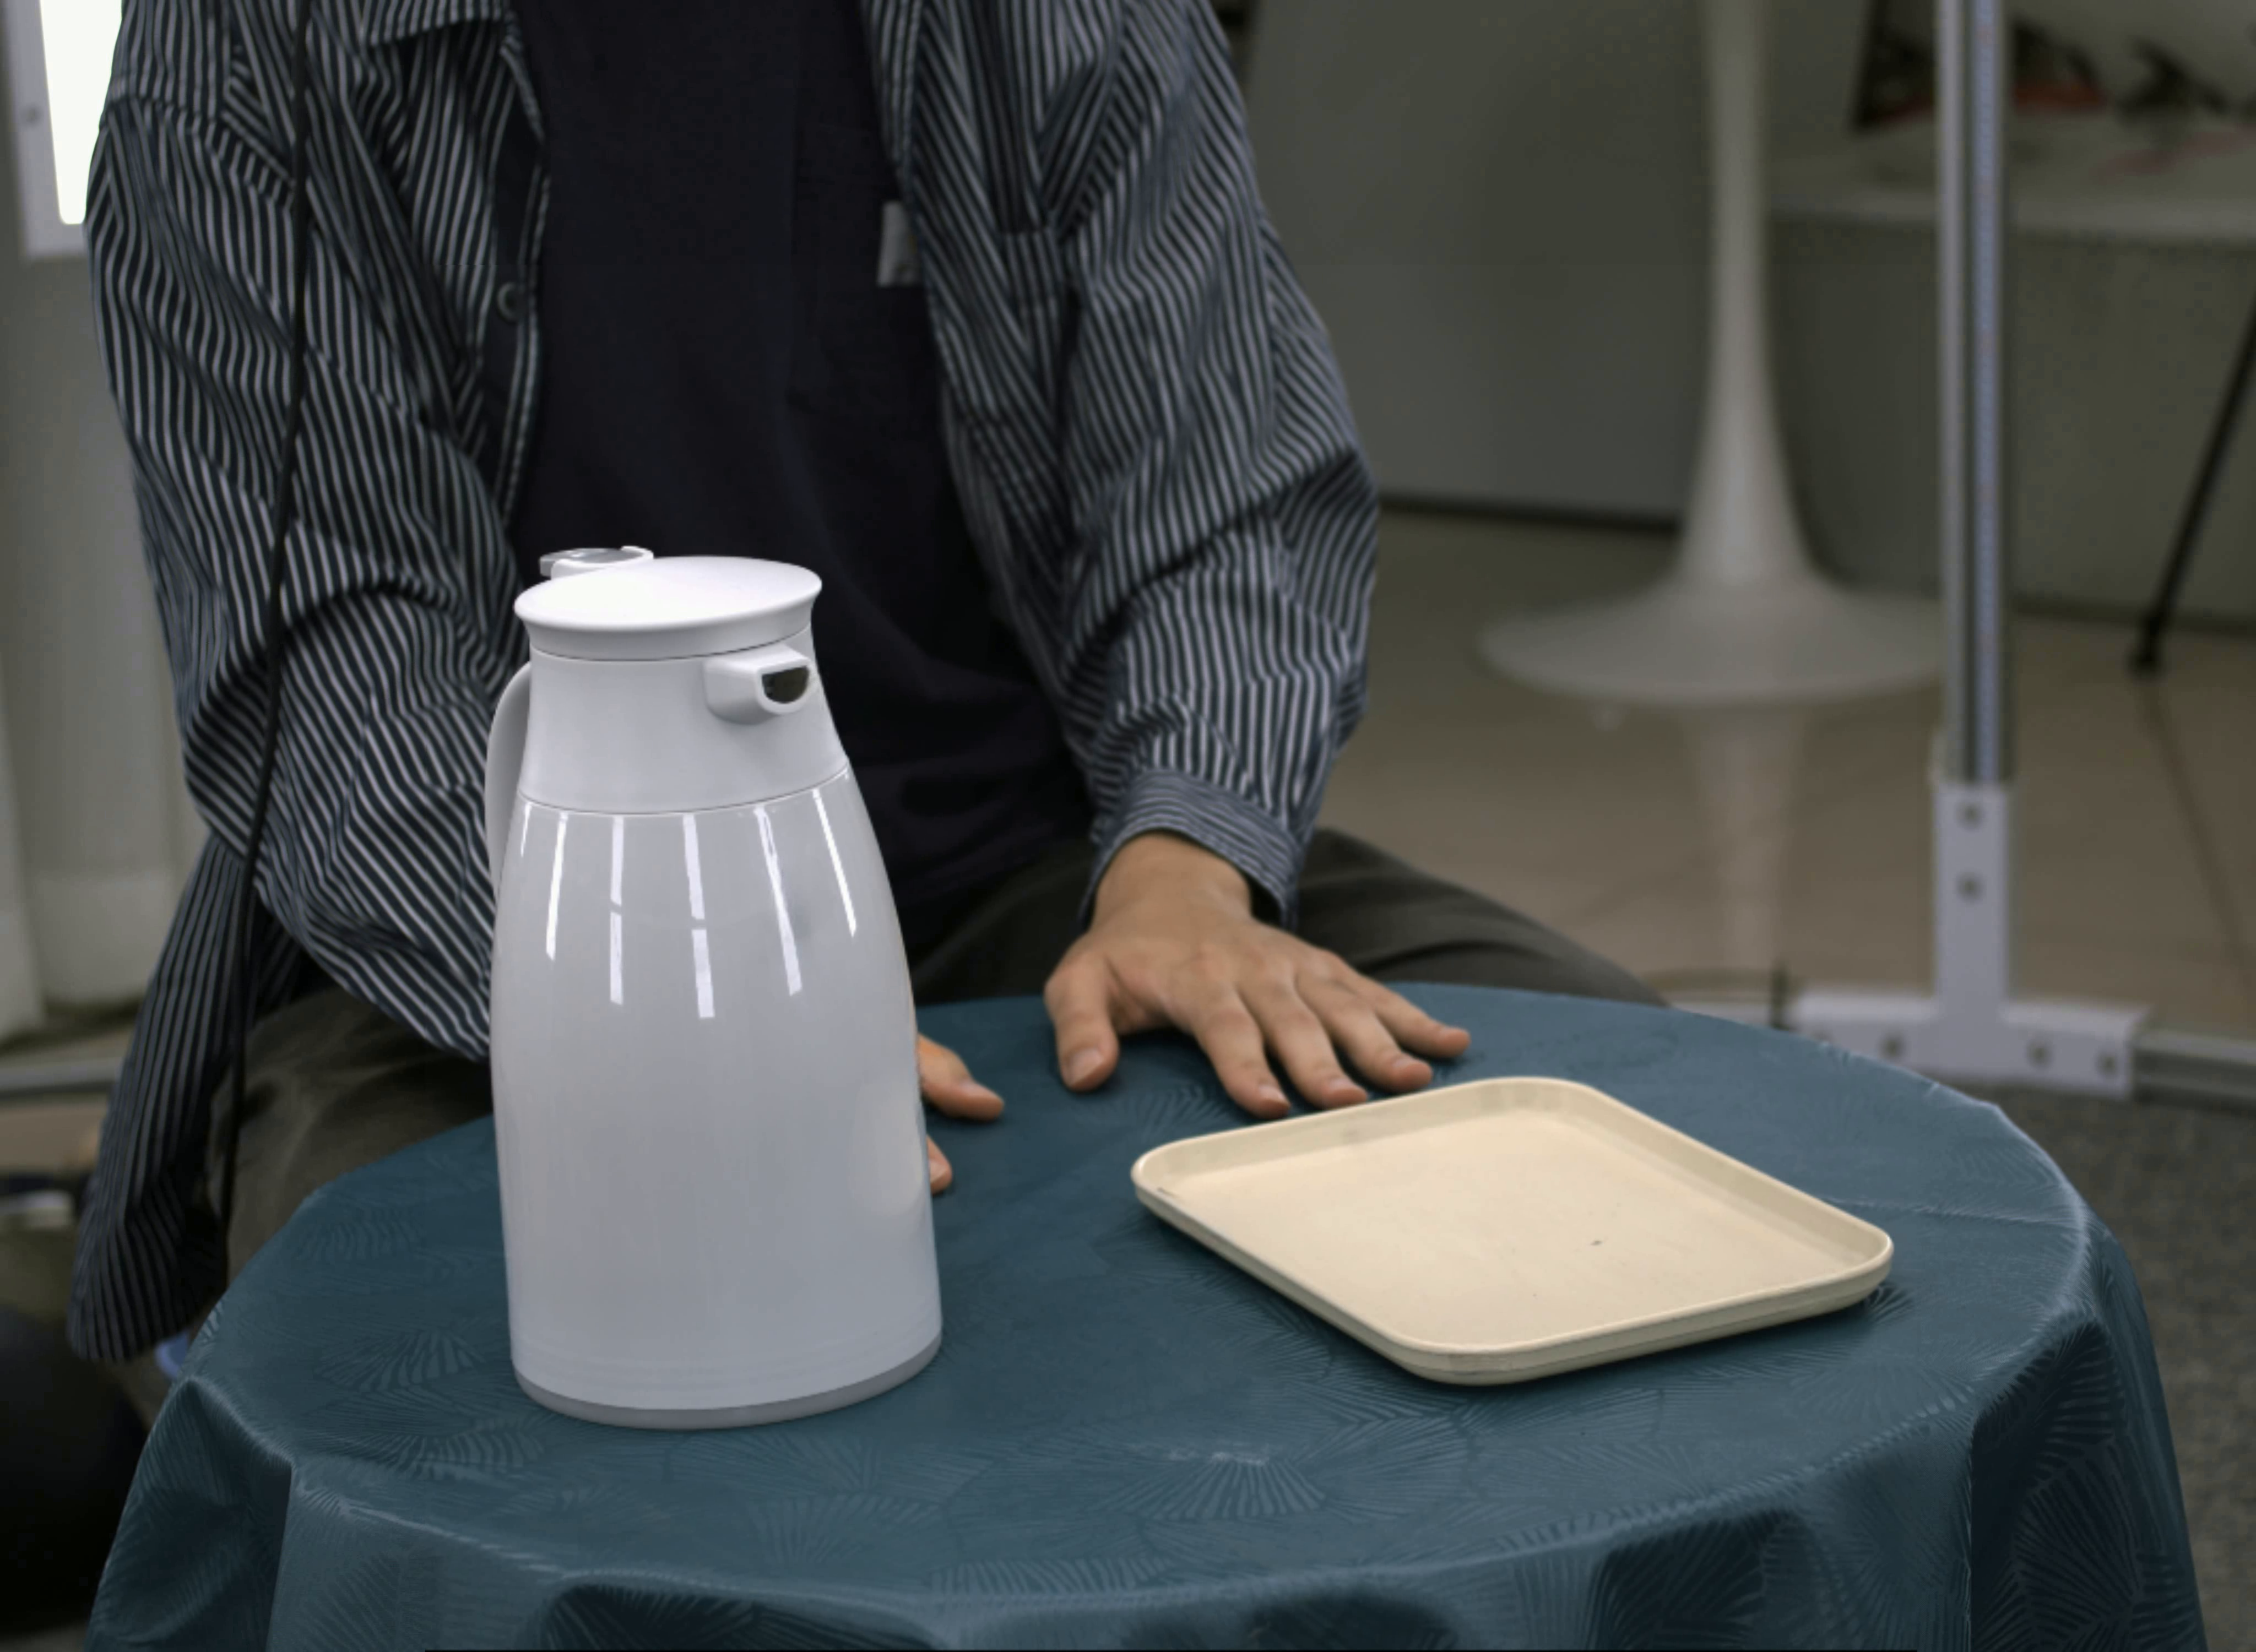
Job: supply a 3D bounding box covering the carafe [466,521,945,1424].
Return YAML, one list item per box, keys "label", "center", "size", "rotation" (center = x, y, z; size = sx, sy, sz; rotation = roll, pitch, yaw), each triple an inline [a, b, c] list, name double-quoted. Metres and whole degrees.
- label: "carafe"
  center: [-0.142, 0.036, 1.625]
  size: [0.130, 0.251, 0.169]
  rotation: [-15, 16, -38]

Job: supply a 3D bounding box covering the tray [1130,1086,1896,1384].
- label: "tray"
  center: [0.116, 0.126, 1.678]
  size: [0.167, 0.017, 0.242]
  rotation: [-9, 14, -23]
